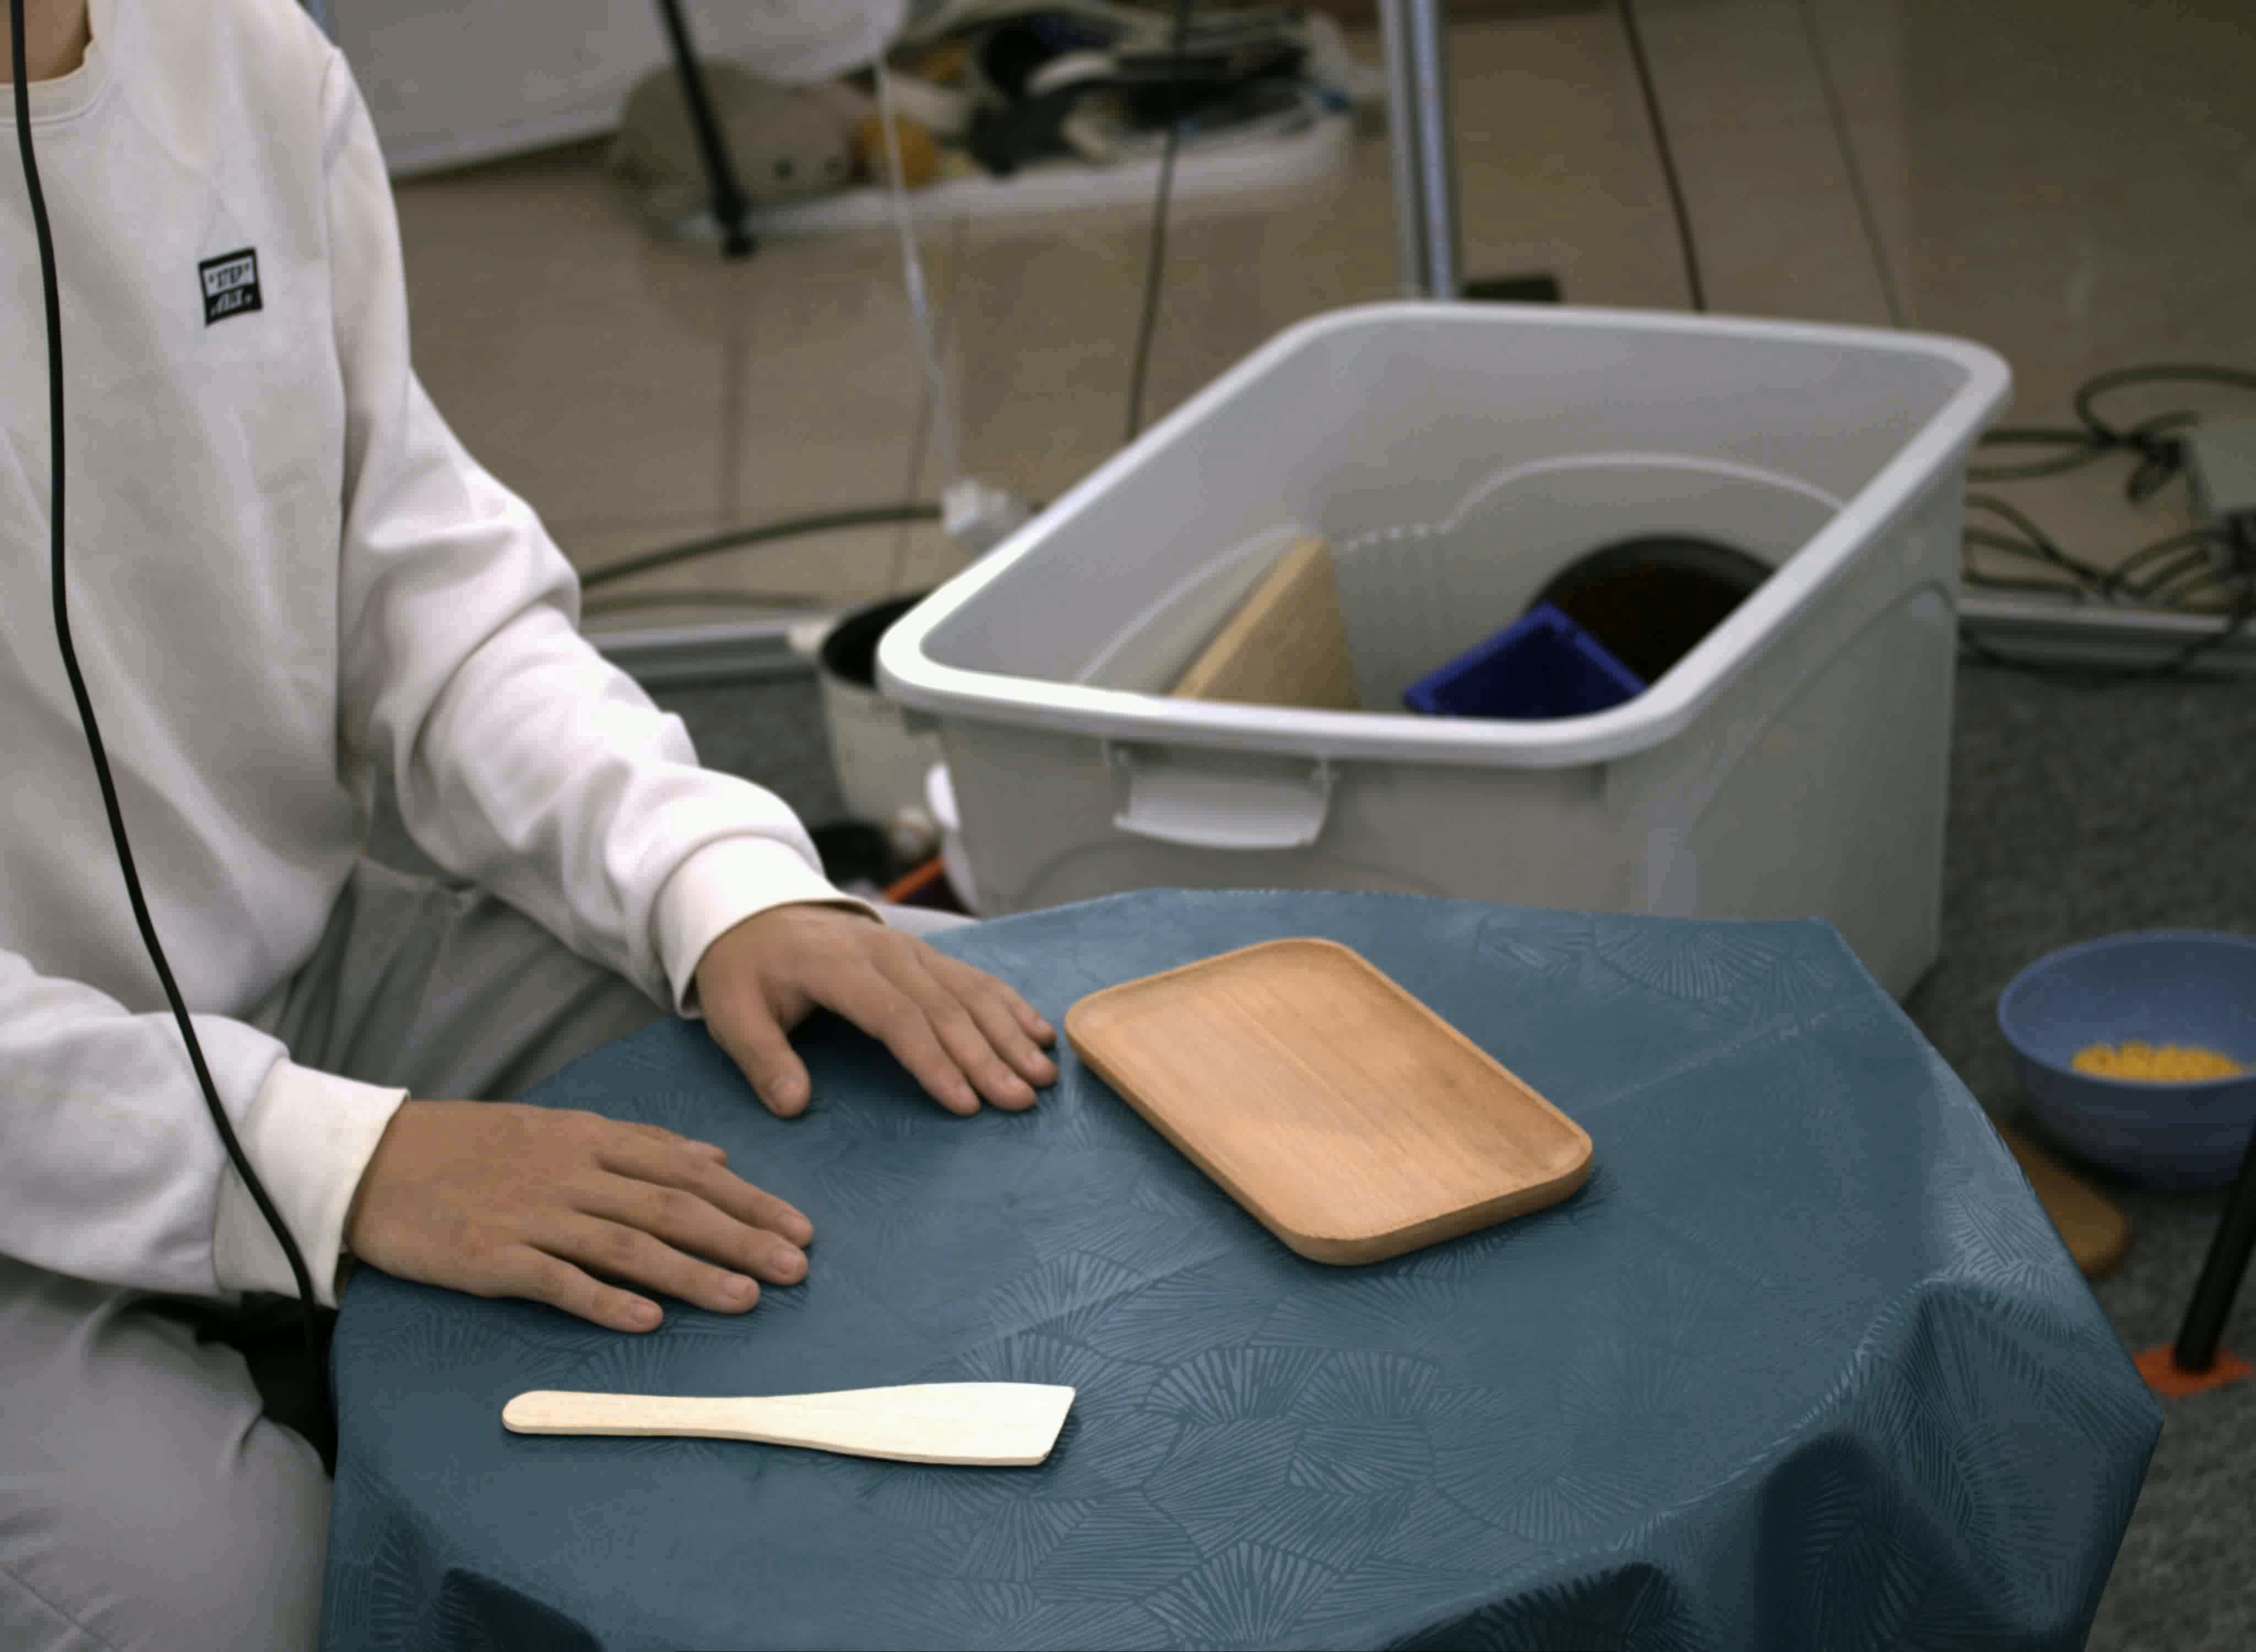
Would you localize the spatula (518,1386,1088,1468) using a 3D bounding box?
[{"bbox_3d":[-0.119,0.209,2.014,0.207,0.005,0.050,1,25,15],"label":"spatula"}]

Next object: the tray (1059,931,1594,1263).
[{"bbox_3d":[0.073,0.102,2.185,0.130,0.023,0.248,-13,25,-21],"label":"tray"}]
